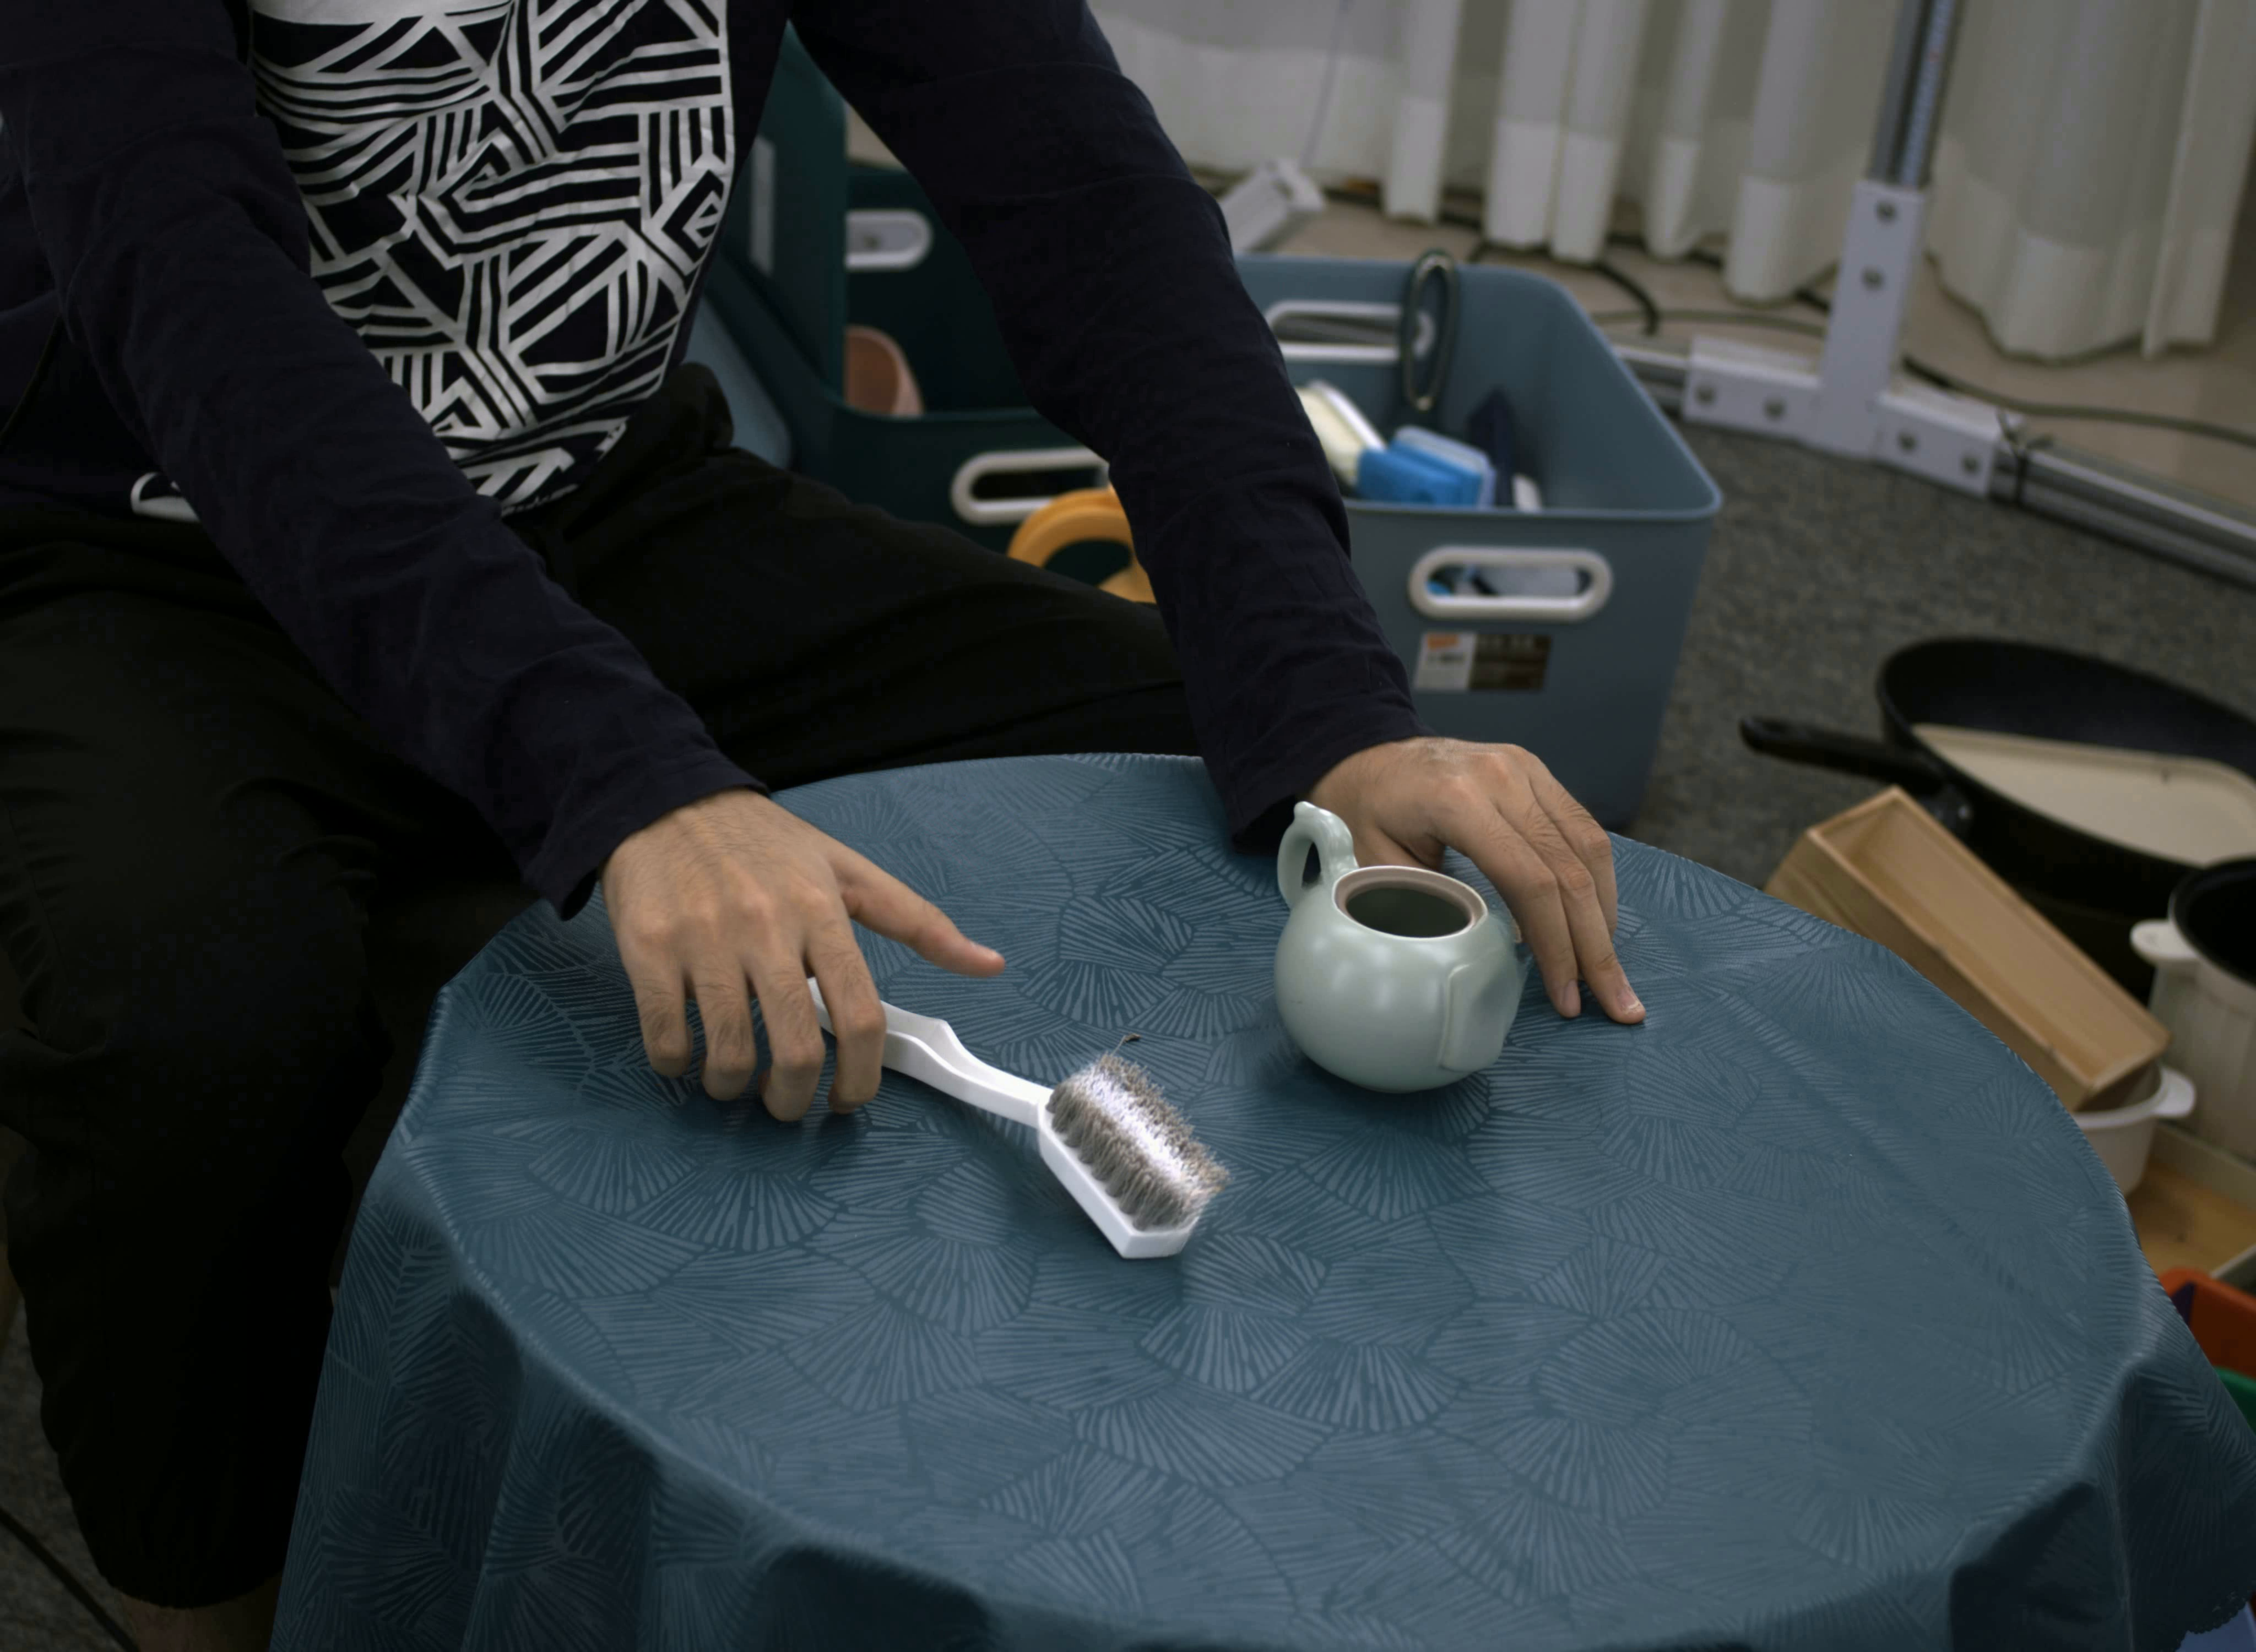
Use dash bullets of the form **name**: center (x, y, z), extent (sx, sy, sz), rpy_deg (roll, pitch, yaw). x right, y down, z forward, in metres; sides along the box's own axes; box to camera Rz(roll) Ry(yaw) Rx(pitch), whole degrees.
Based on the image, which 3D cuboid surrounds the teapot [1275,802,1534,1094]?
- **teapot**: center (0.096, 0.053, 1.887), extent (0.088, 0.074, 0.145), rpy_deg (-11, 33, -28)

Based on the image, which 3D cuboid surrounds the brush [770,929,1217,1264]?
- **brush**: center (-0.052, 0.076, 1.836), extent (0.034, 0.050, 0.246), rpy_deg (-17, 35, -31)
